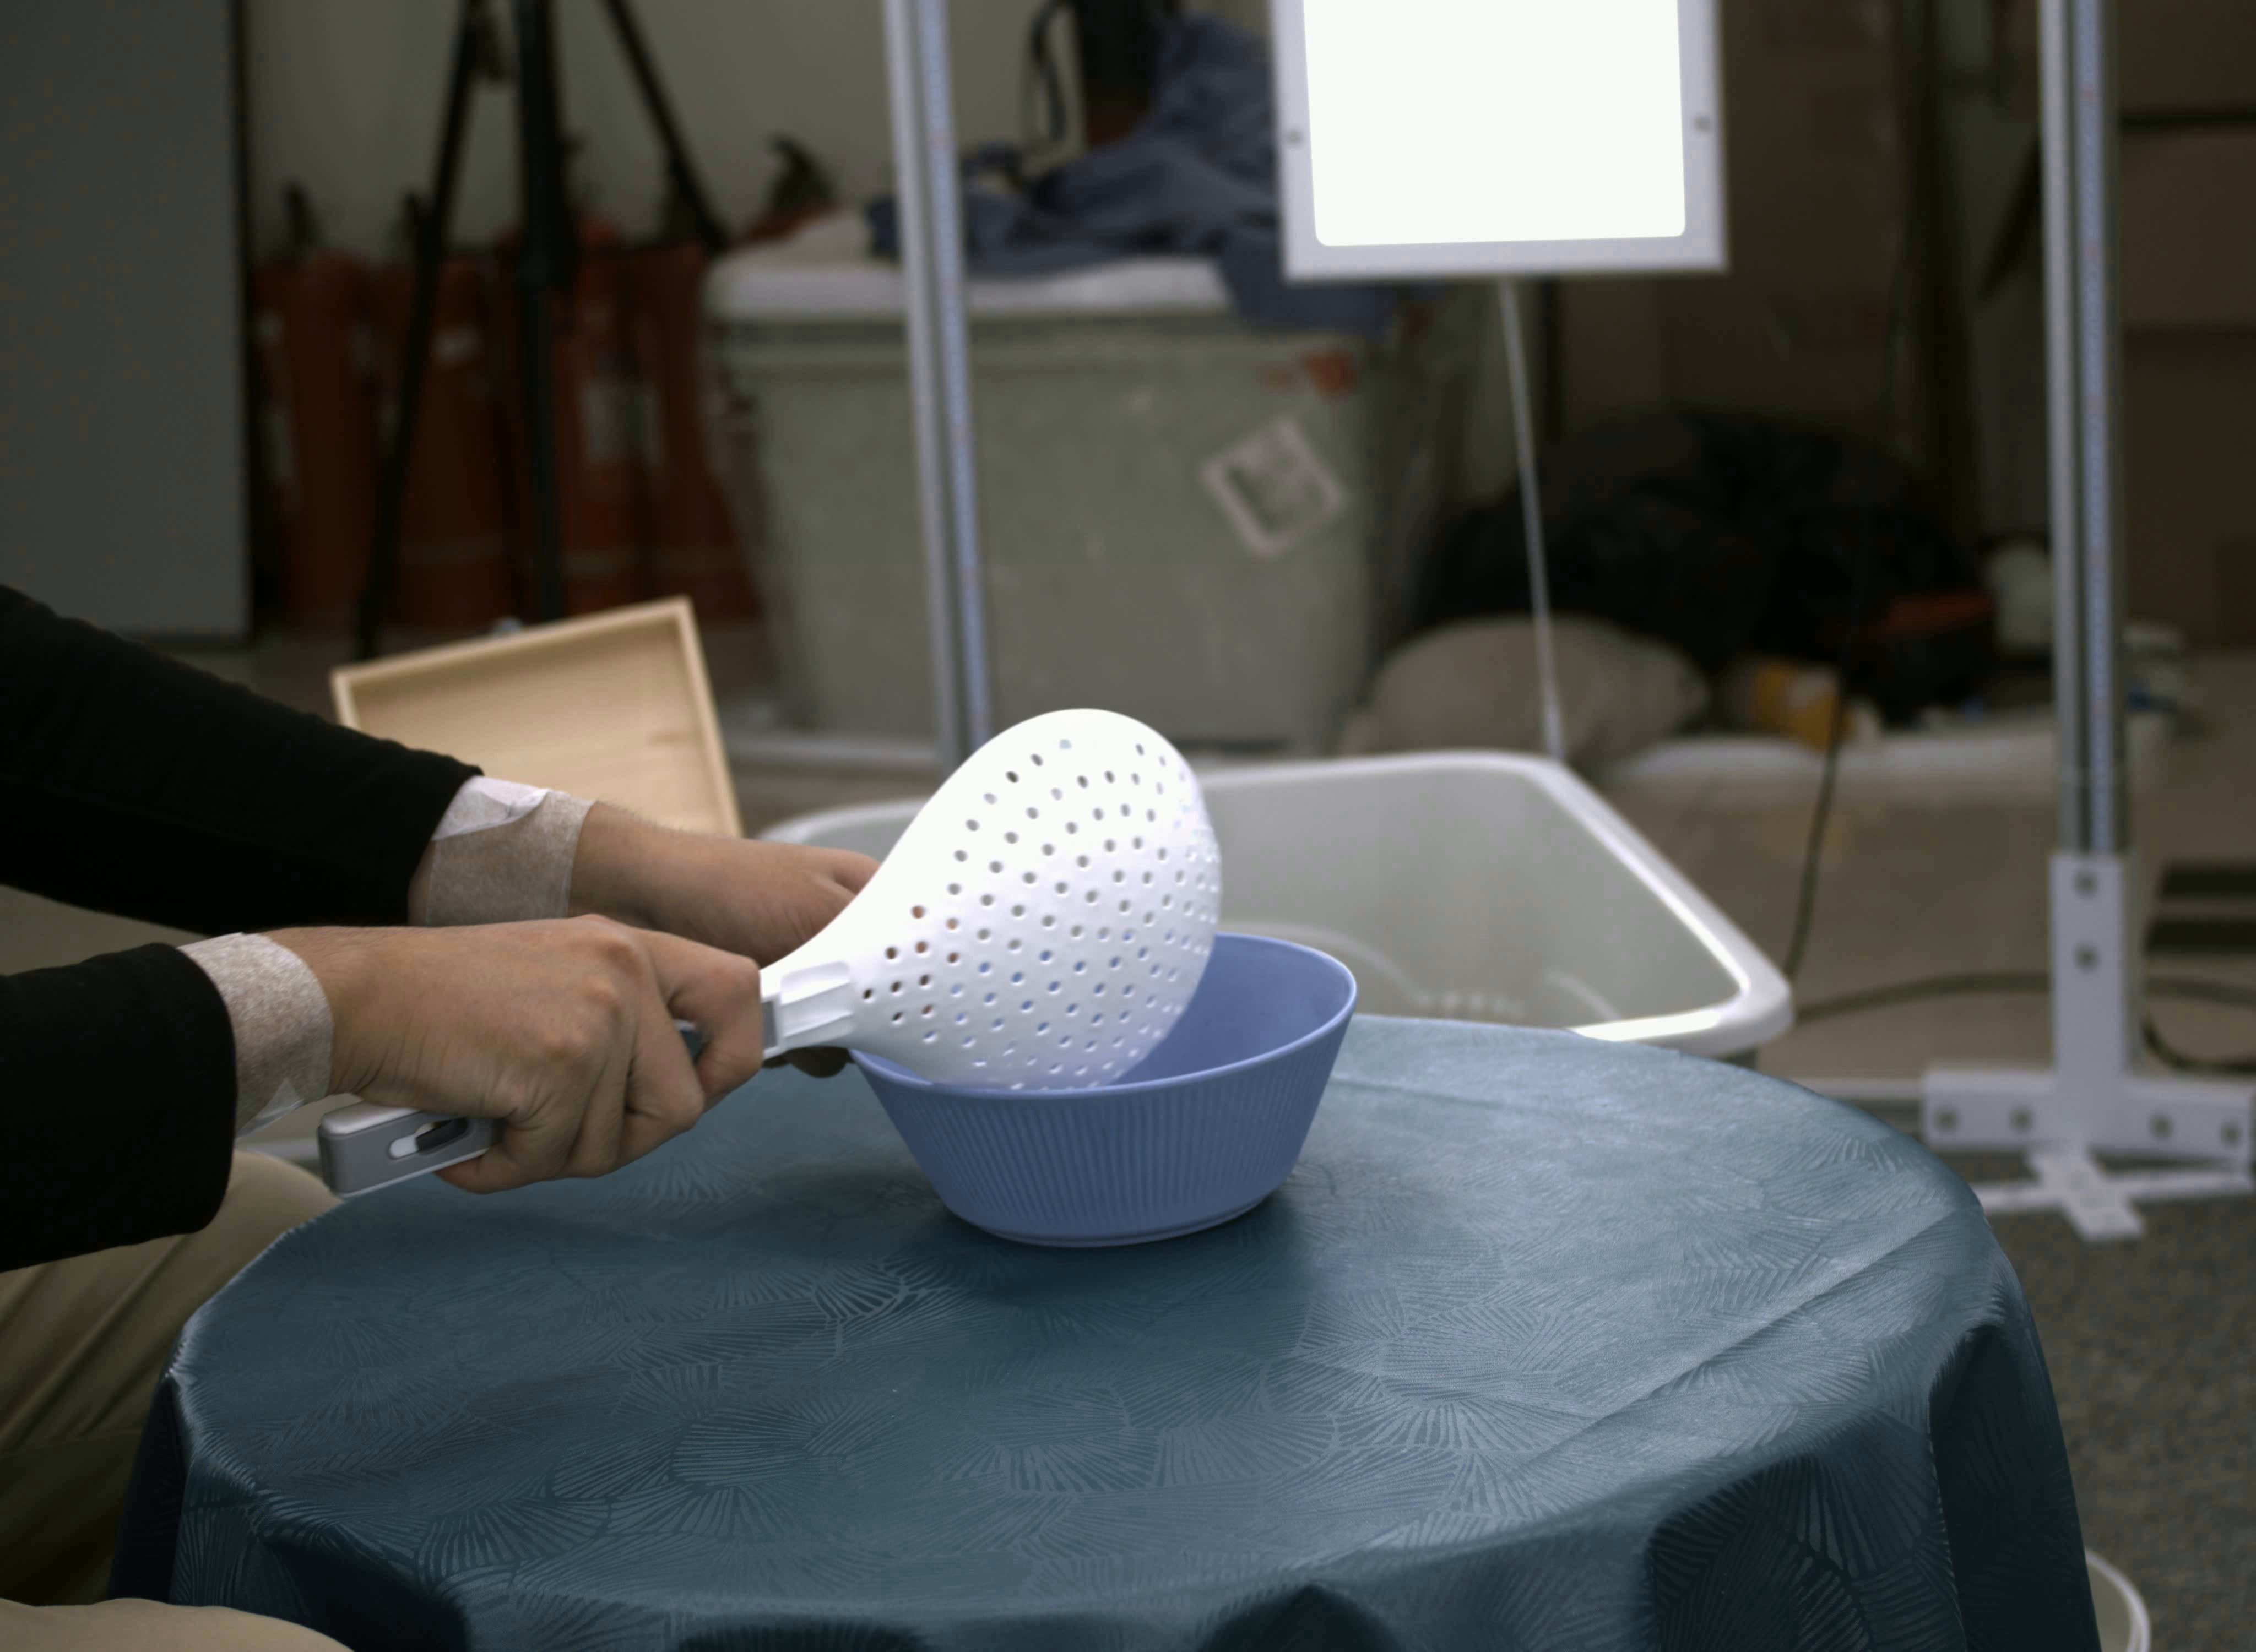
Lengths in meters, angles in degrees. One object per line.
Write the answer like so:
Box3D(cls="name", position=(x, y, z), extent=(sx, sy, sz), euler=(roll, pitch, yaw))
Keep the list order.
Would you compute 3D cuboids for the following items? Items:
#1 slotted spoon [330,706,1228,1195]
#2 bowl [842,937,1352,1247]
Box3D(cls="slotted spoon", position=(-0.102, 0.055, 1.767), extent=(0.342, 0.136, 0.046), euler=(-16, 21, -28))
Box3D(cls="bowl", position=(-0.007, 0.094, 1.883), extent=(0.176, 0.070, 0.176), euler=(-7, 15, 1))
